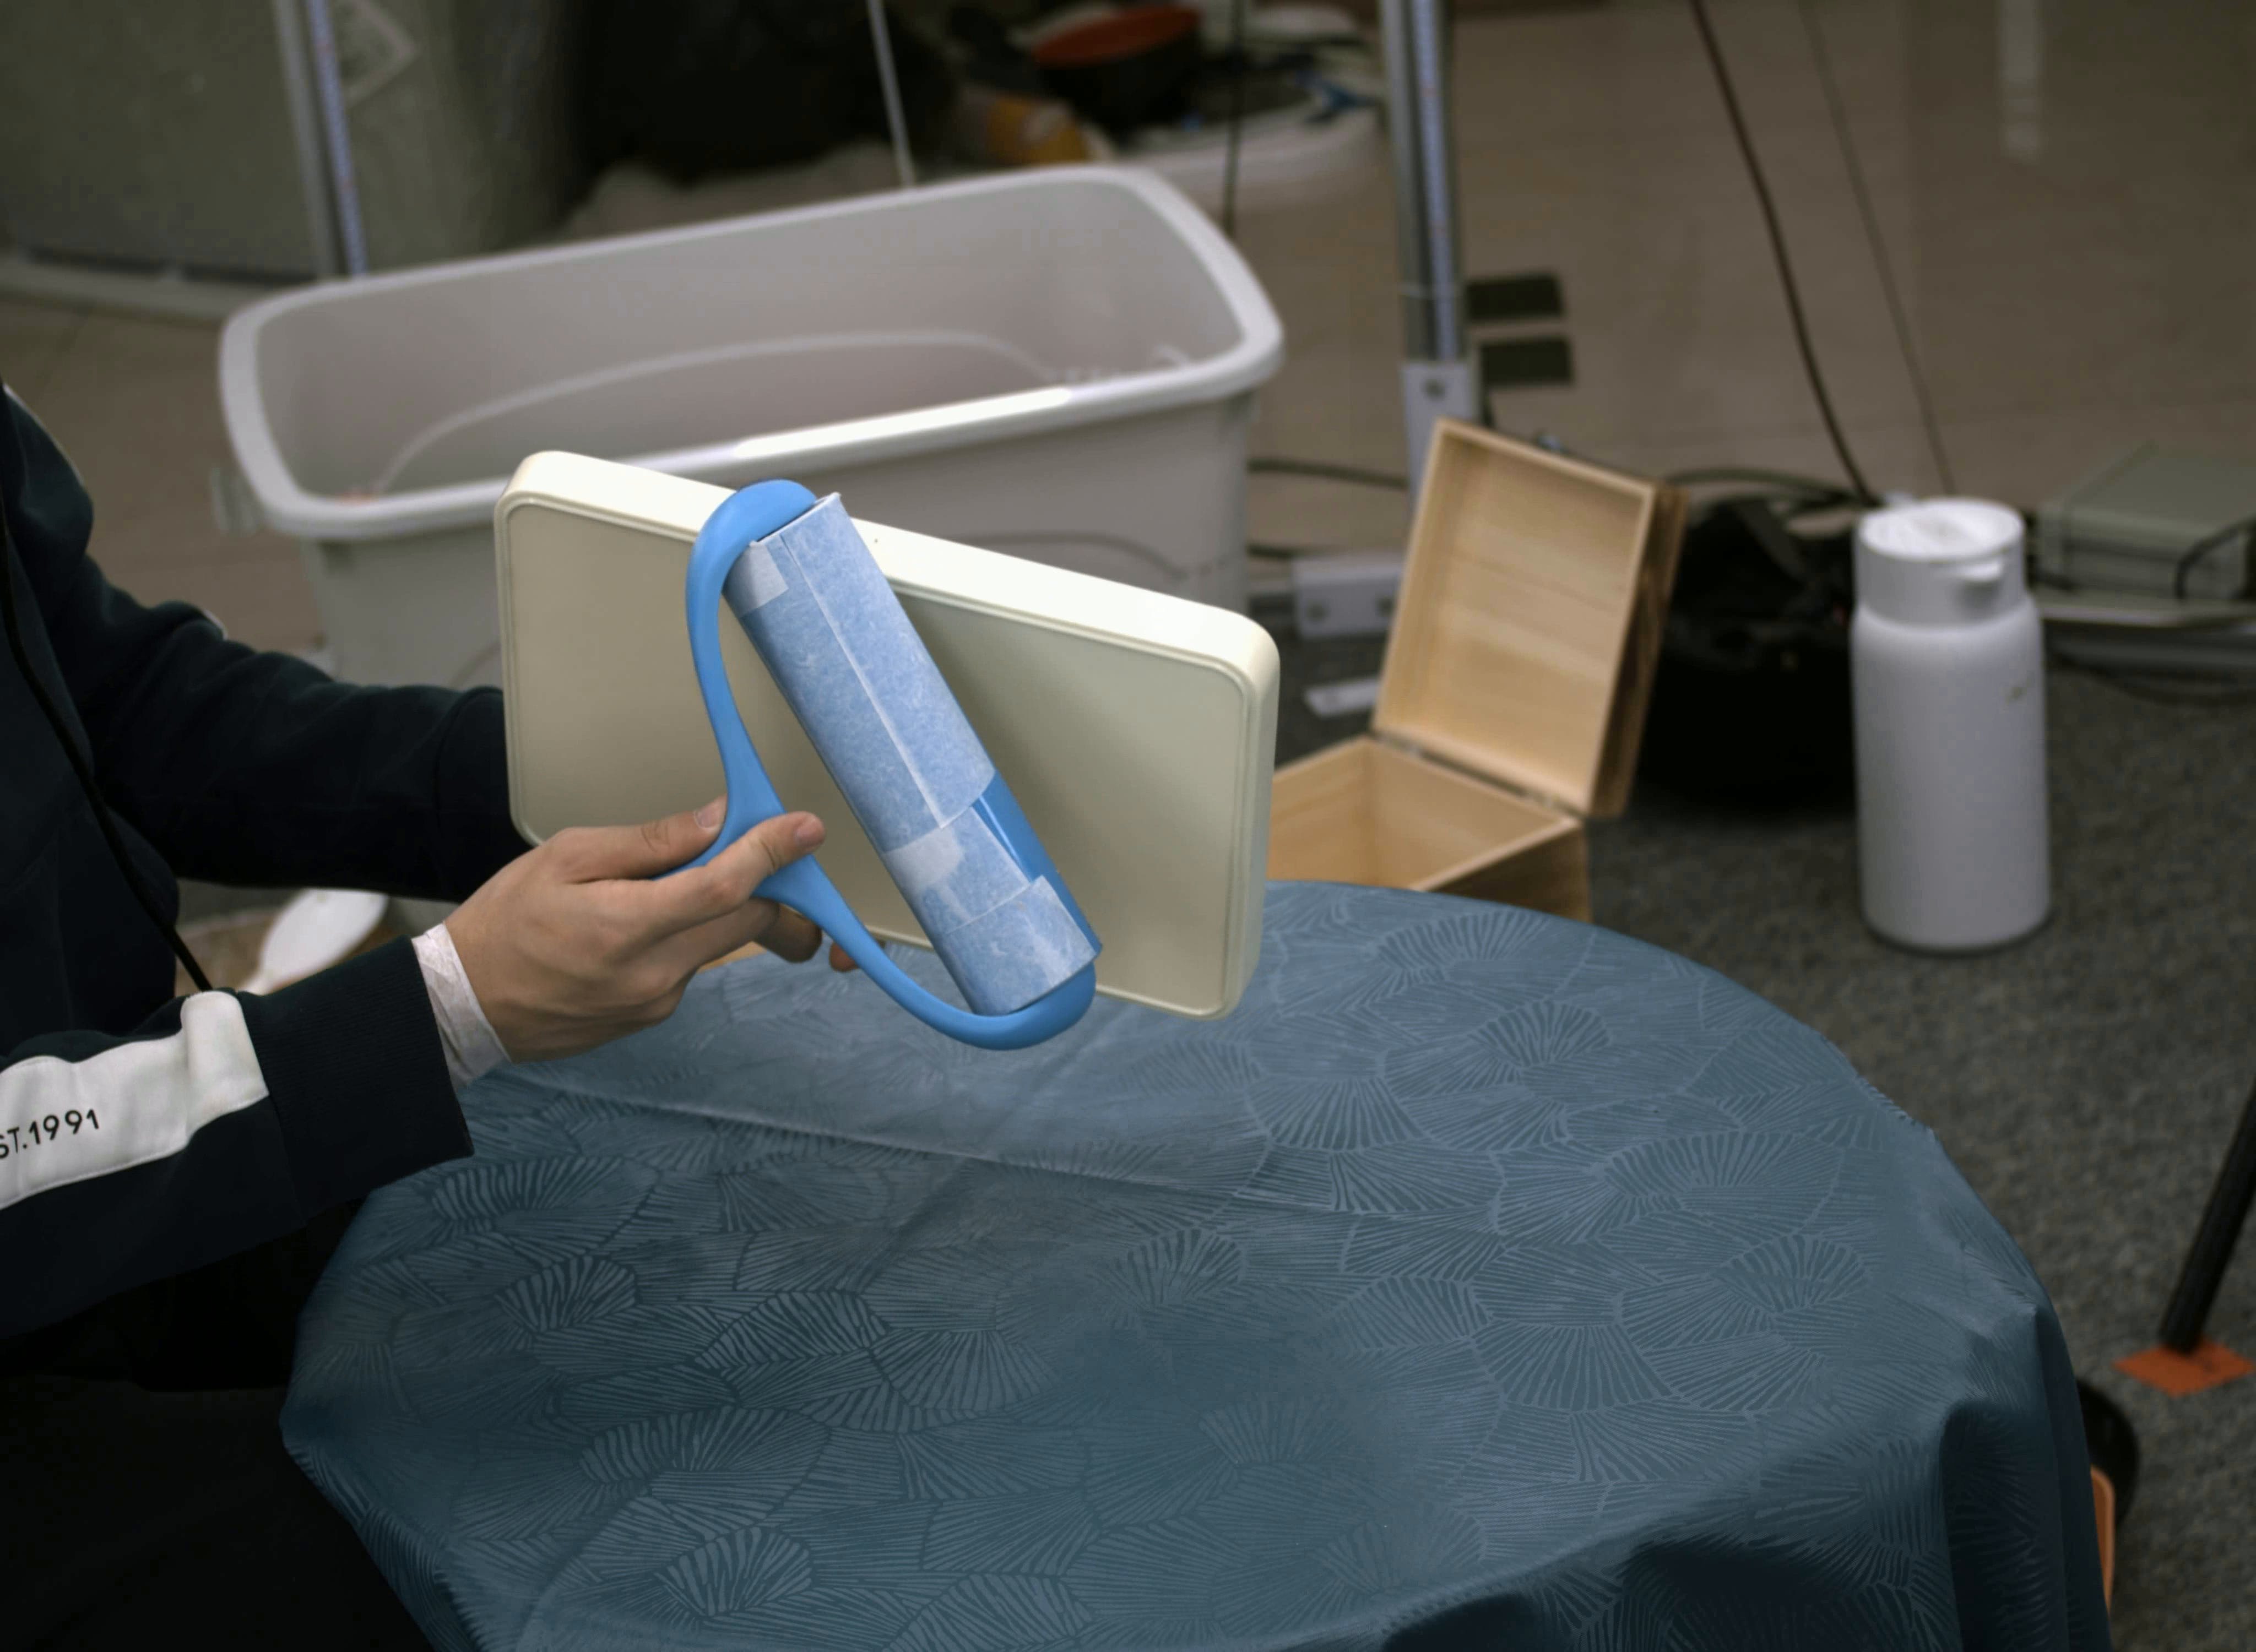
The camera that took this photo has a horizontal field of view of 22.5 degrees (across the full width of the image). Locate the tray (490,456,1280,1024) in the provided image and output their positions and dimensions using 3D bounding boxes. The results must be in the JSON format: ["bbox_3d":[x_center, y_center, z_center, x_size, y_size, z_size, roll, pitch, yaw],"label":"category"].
[{"bbox_3d":[-0.093,-0.030,2.118,0.299,0.195,0.027,14,46,11],"label":"tray"}]

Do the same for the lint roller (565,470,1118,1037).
[{"bbox_3d":[-0.126,0.006,2.038,0.180,0.230,0.067,-34,10,5],"label":"lint roller"}]
